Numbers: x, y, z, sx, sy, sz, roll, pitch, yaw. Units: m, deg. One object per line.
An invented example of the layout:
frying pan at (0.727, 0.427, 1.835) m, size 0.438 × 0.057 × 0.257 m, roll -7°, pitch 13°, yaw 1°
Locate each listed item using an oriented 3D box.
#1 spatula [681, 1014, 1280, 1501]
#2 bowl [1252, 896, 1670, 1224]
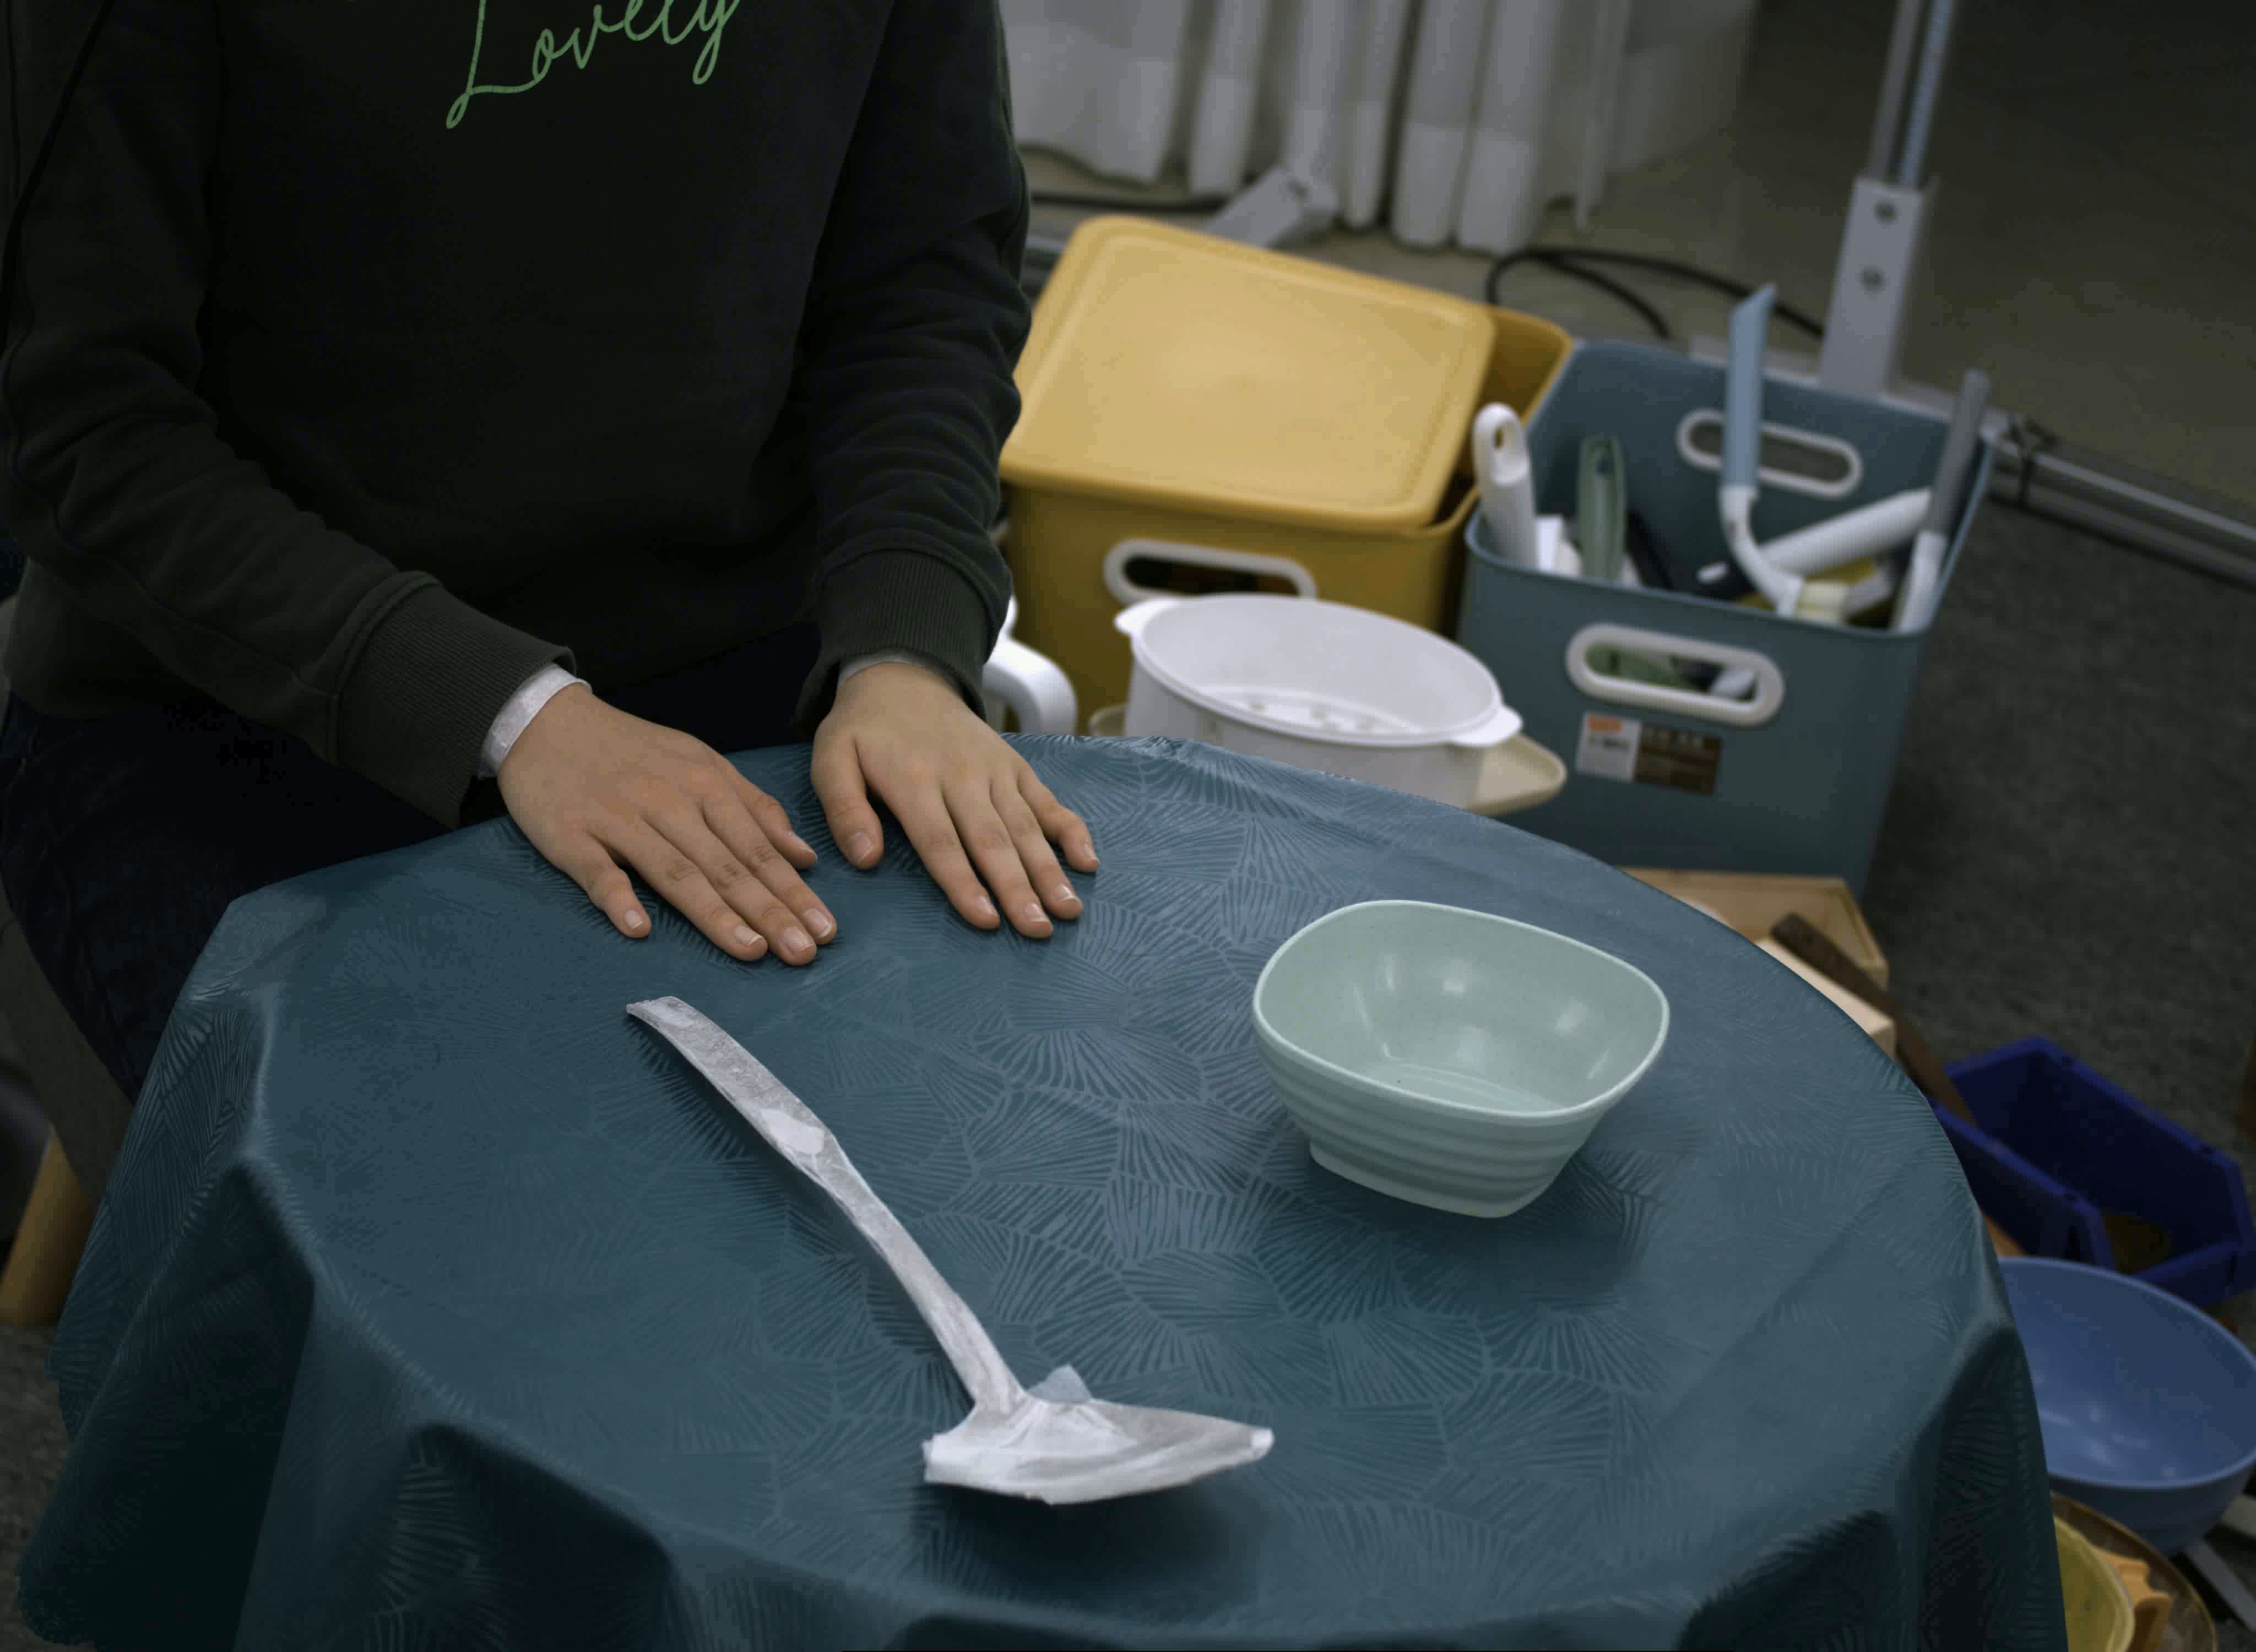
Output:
spatula at (-0.073, 0.131, 1.725) m, size 0.098 × 0.044 × 0.368 m, roll -10°, pitch 31°, yaw -26°
bowl at (0.111, 0.087, 1.838) m, size 0.151 × 0.058 × 0.152 m, roll 7°, pitch 28°, yaw -4°
